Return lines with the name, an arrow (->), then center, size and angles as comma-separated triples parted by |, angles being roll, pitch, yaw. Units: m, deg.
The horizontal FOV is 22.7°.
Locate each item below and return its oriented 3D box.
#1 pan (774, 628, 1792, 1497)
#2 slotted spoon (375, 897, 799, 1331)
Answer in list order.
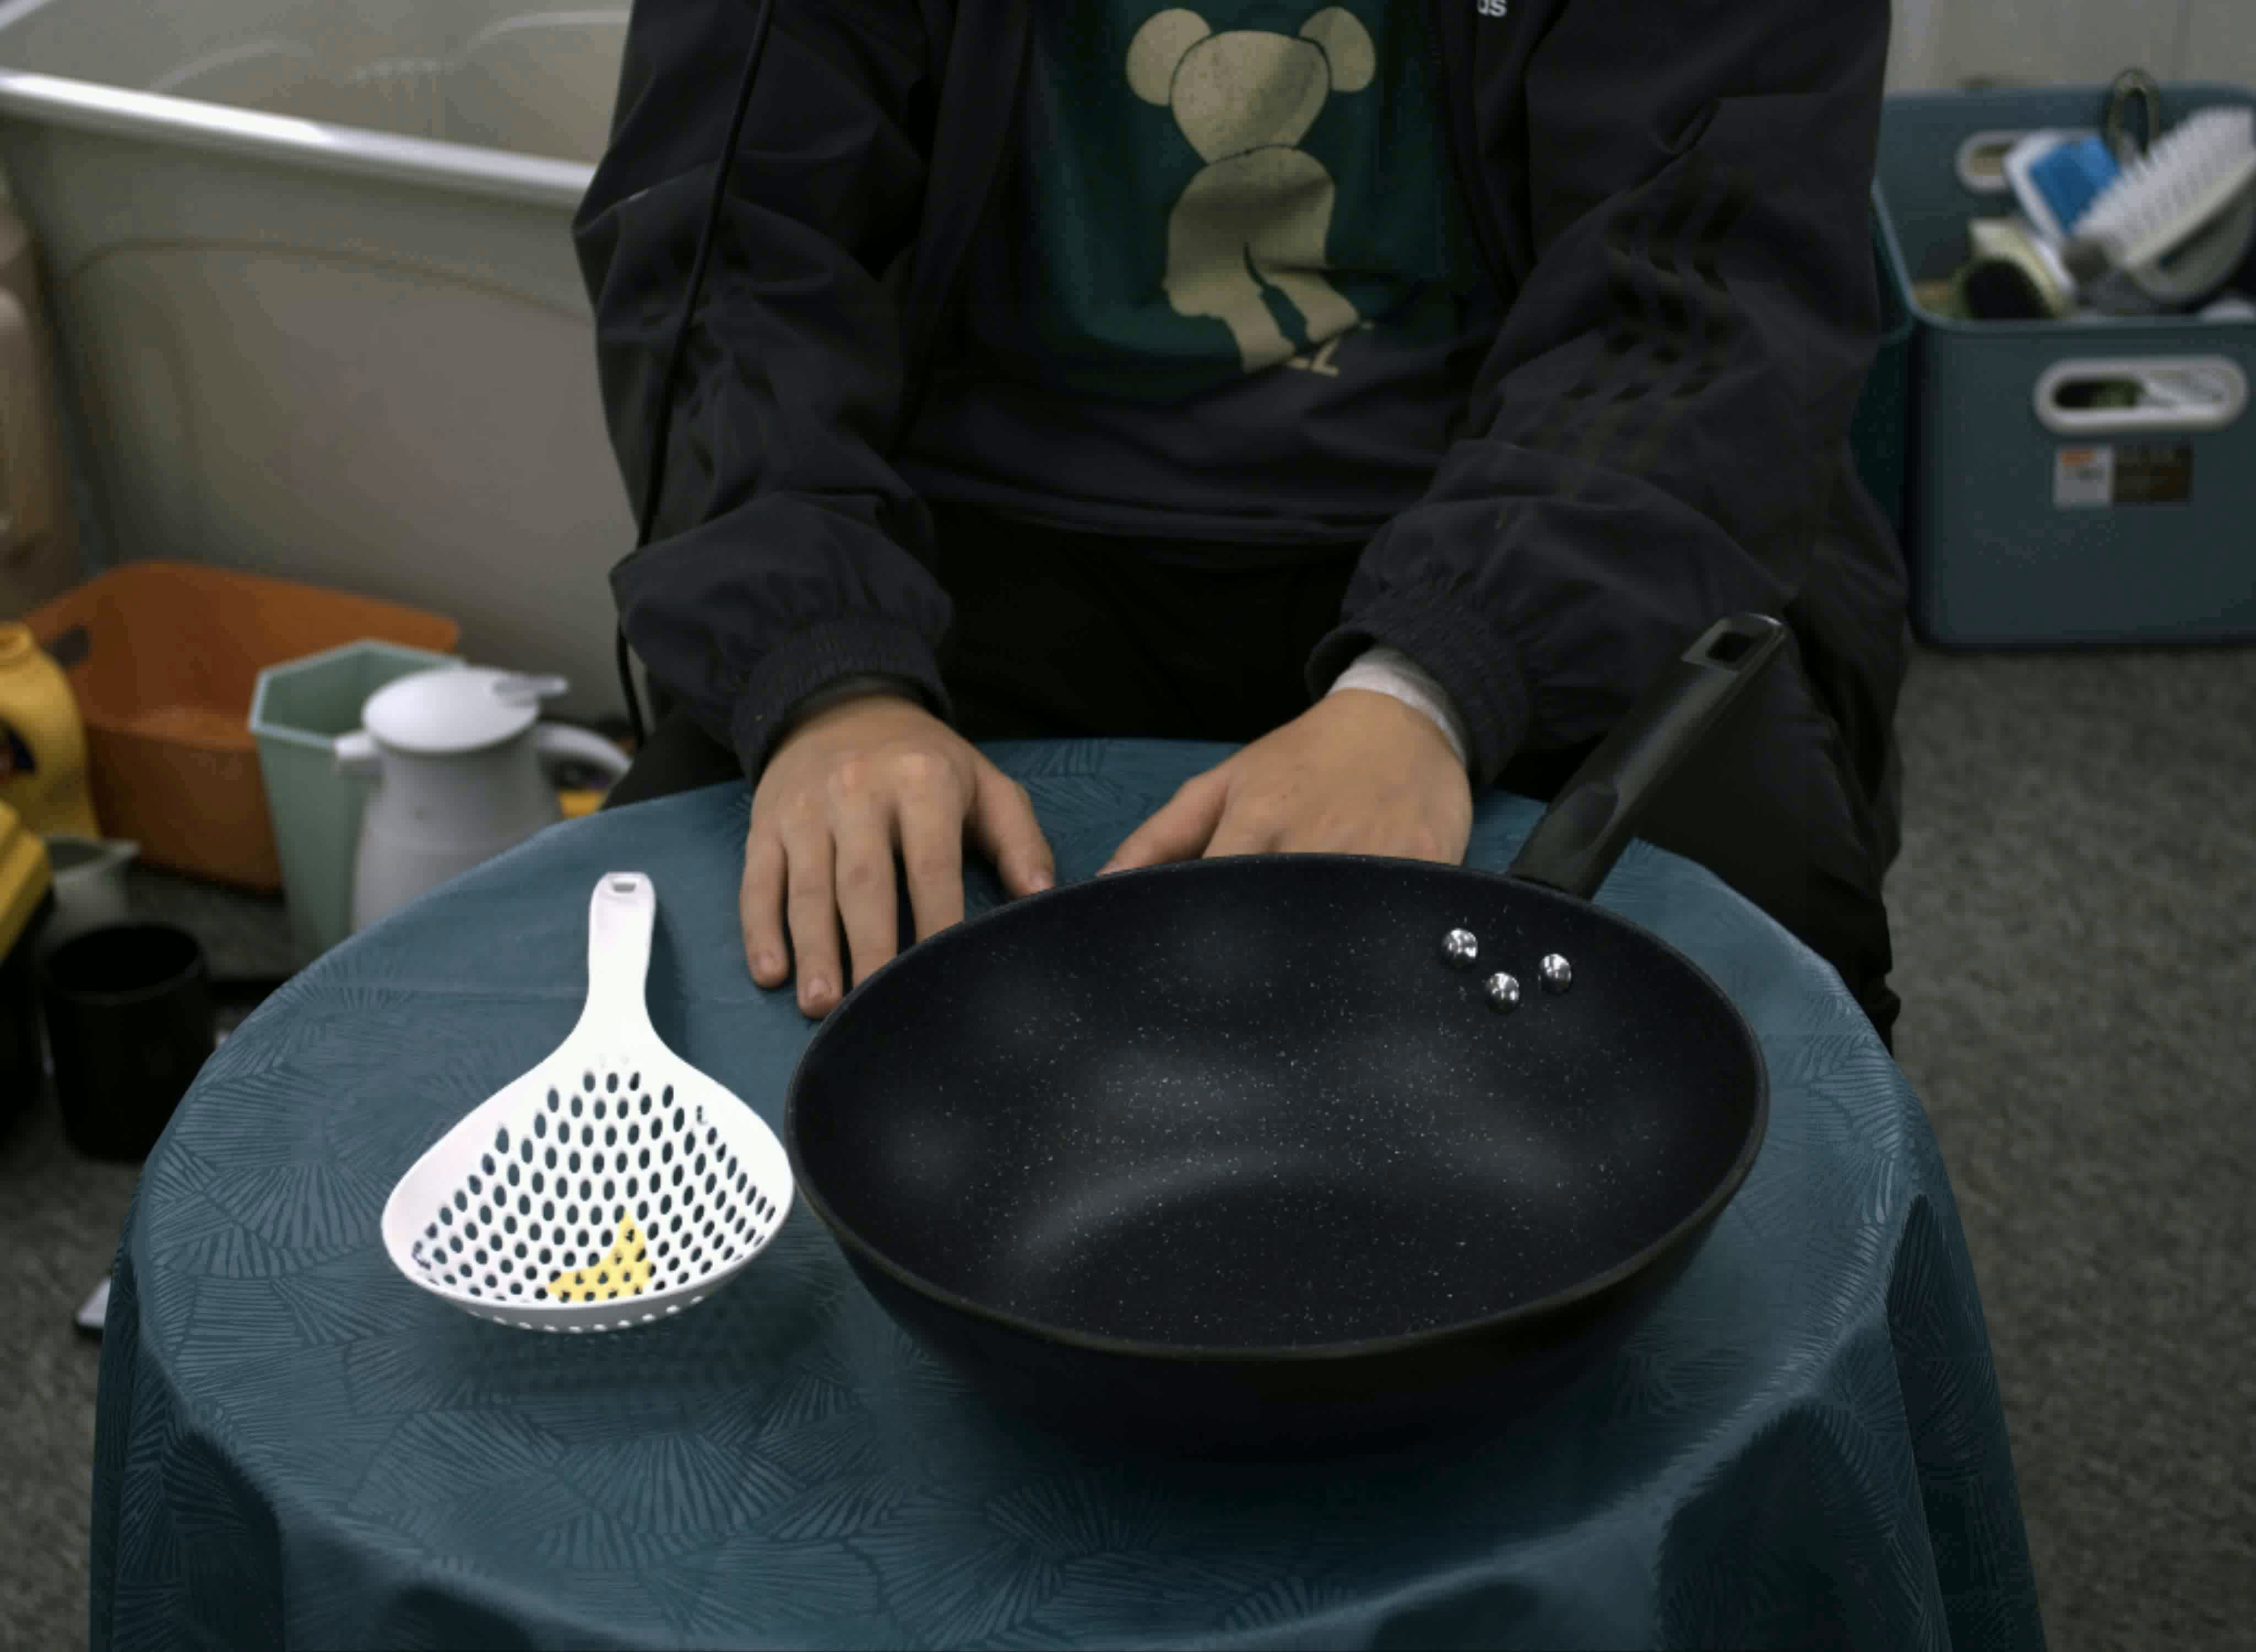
pan -> 0.091, 0.078, 1.821 | 0.309, 0.110, 0.484 | 16, 33, 30
slotted spoon -> -0.175, 0.085, 1.902 | 0.136, 0.050, 0.353 | -5, 27, 0
